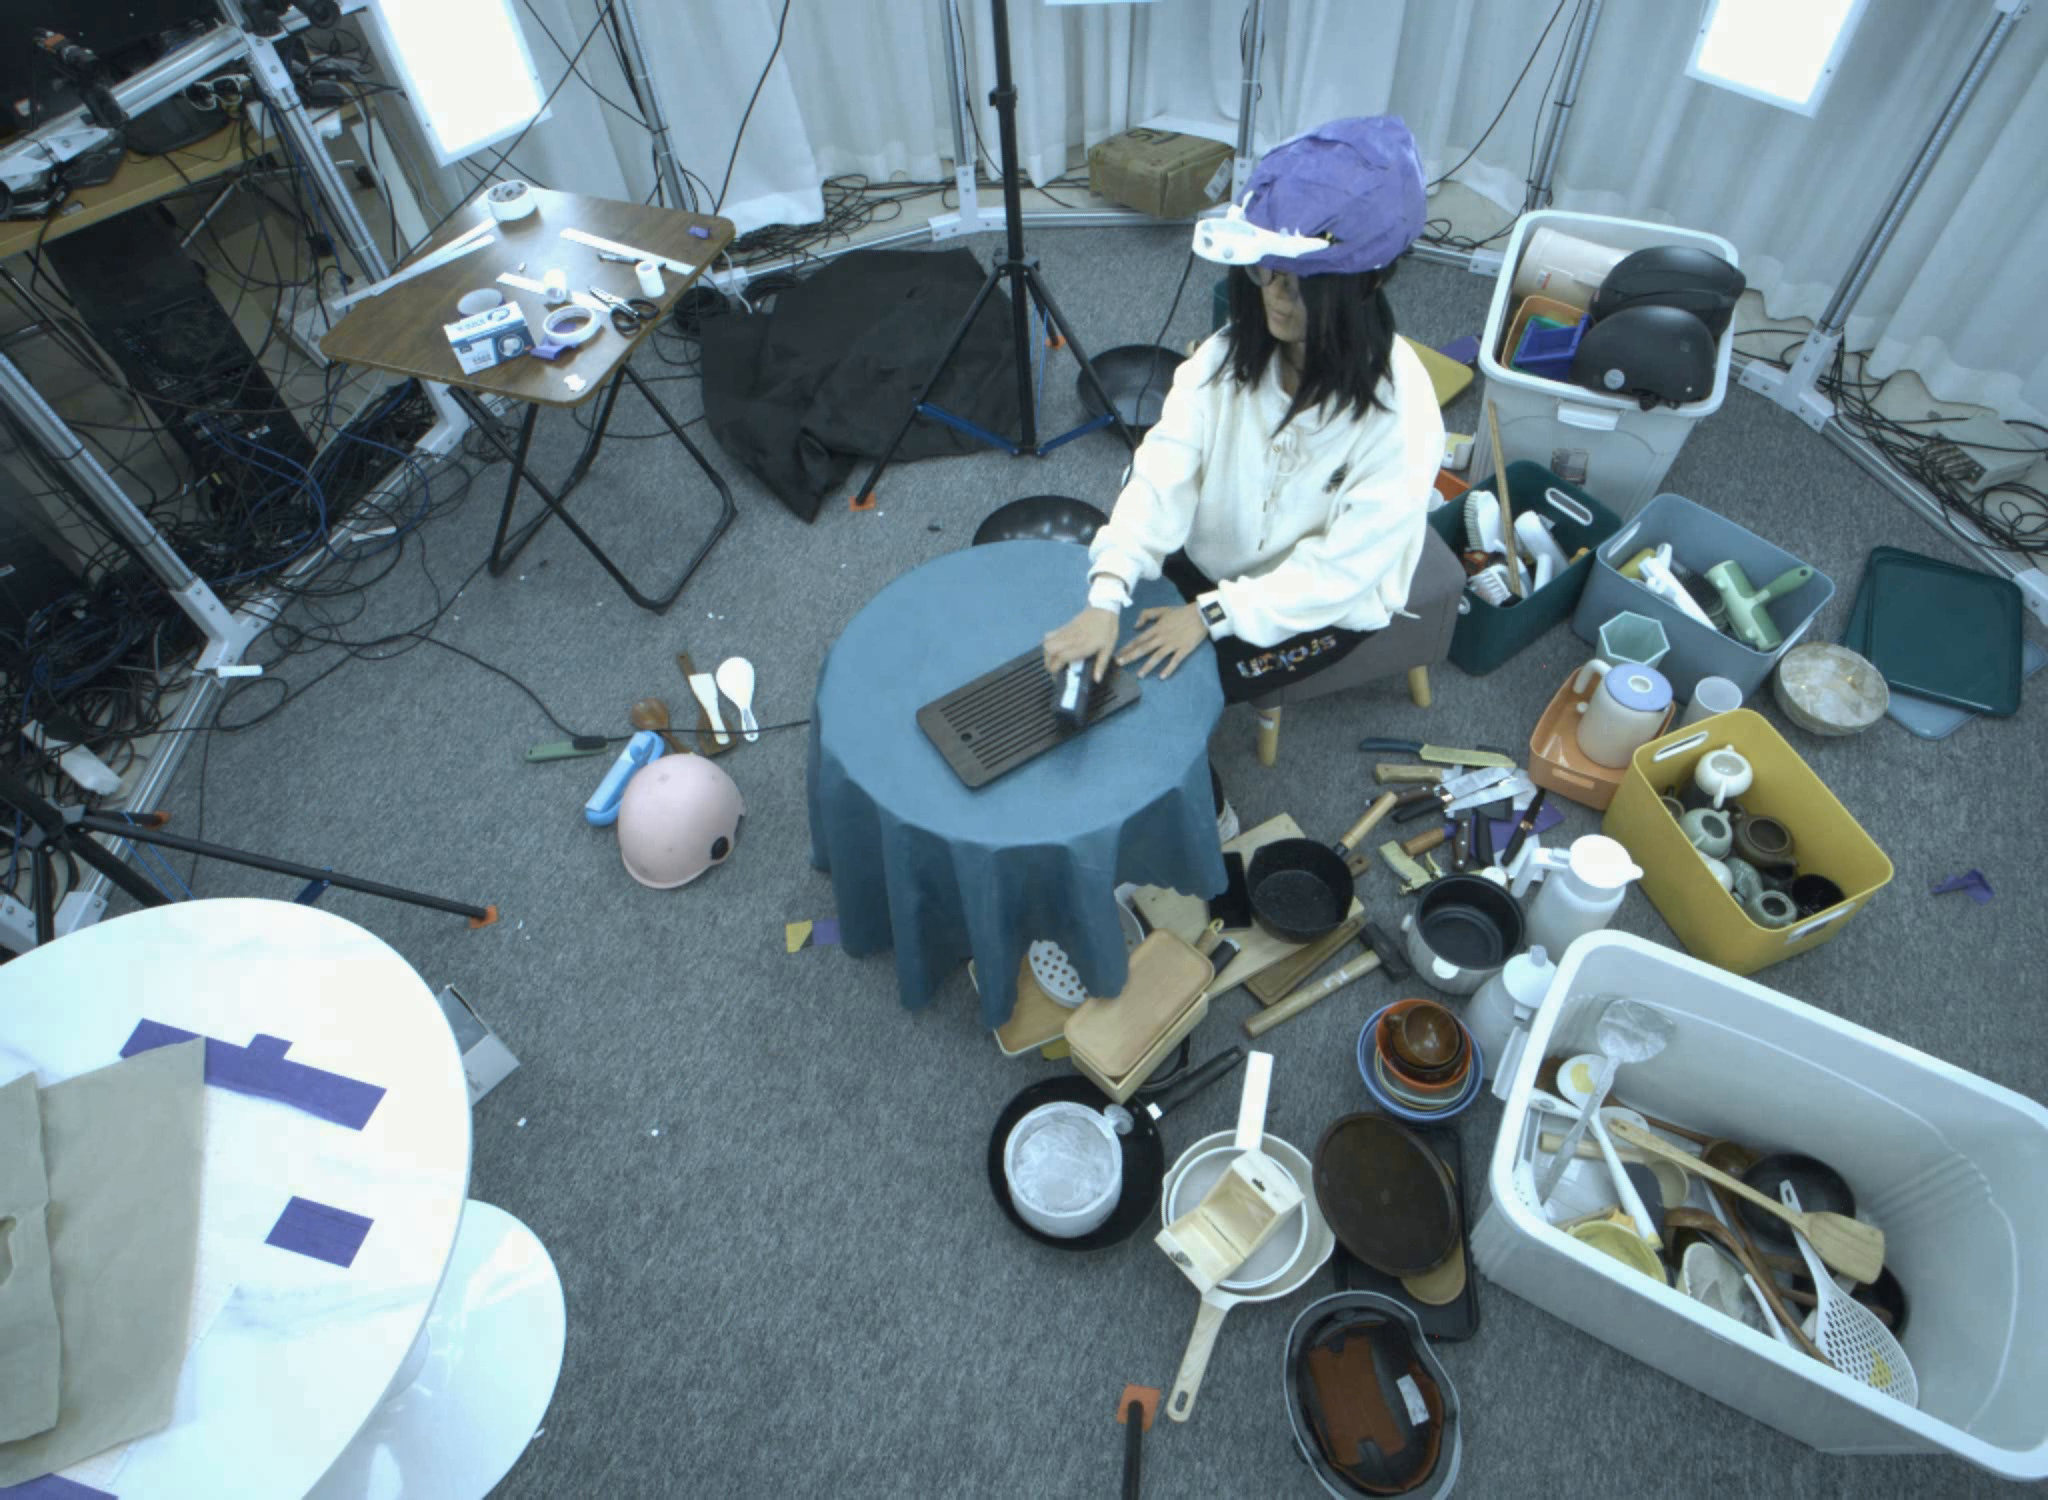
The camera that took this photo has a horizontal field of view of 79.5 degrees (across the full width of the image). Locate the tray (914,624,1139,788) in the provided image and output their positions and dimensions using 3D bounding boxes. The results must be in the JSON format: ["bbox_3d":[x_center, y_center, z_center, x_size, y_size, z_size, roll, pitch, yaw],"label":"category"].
[{"bbox_3d":[0.004,-0.068,1.825,0.308,0.019,0.167,-30,59,-17],"label":"tray"}]

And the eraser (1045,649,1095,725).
[{"bbox_3d":[0.067,-0.091,1.767,0.053,0.031,0.125,10,50,4],"label":"eraser"}]
